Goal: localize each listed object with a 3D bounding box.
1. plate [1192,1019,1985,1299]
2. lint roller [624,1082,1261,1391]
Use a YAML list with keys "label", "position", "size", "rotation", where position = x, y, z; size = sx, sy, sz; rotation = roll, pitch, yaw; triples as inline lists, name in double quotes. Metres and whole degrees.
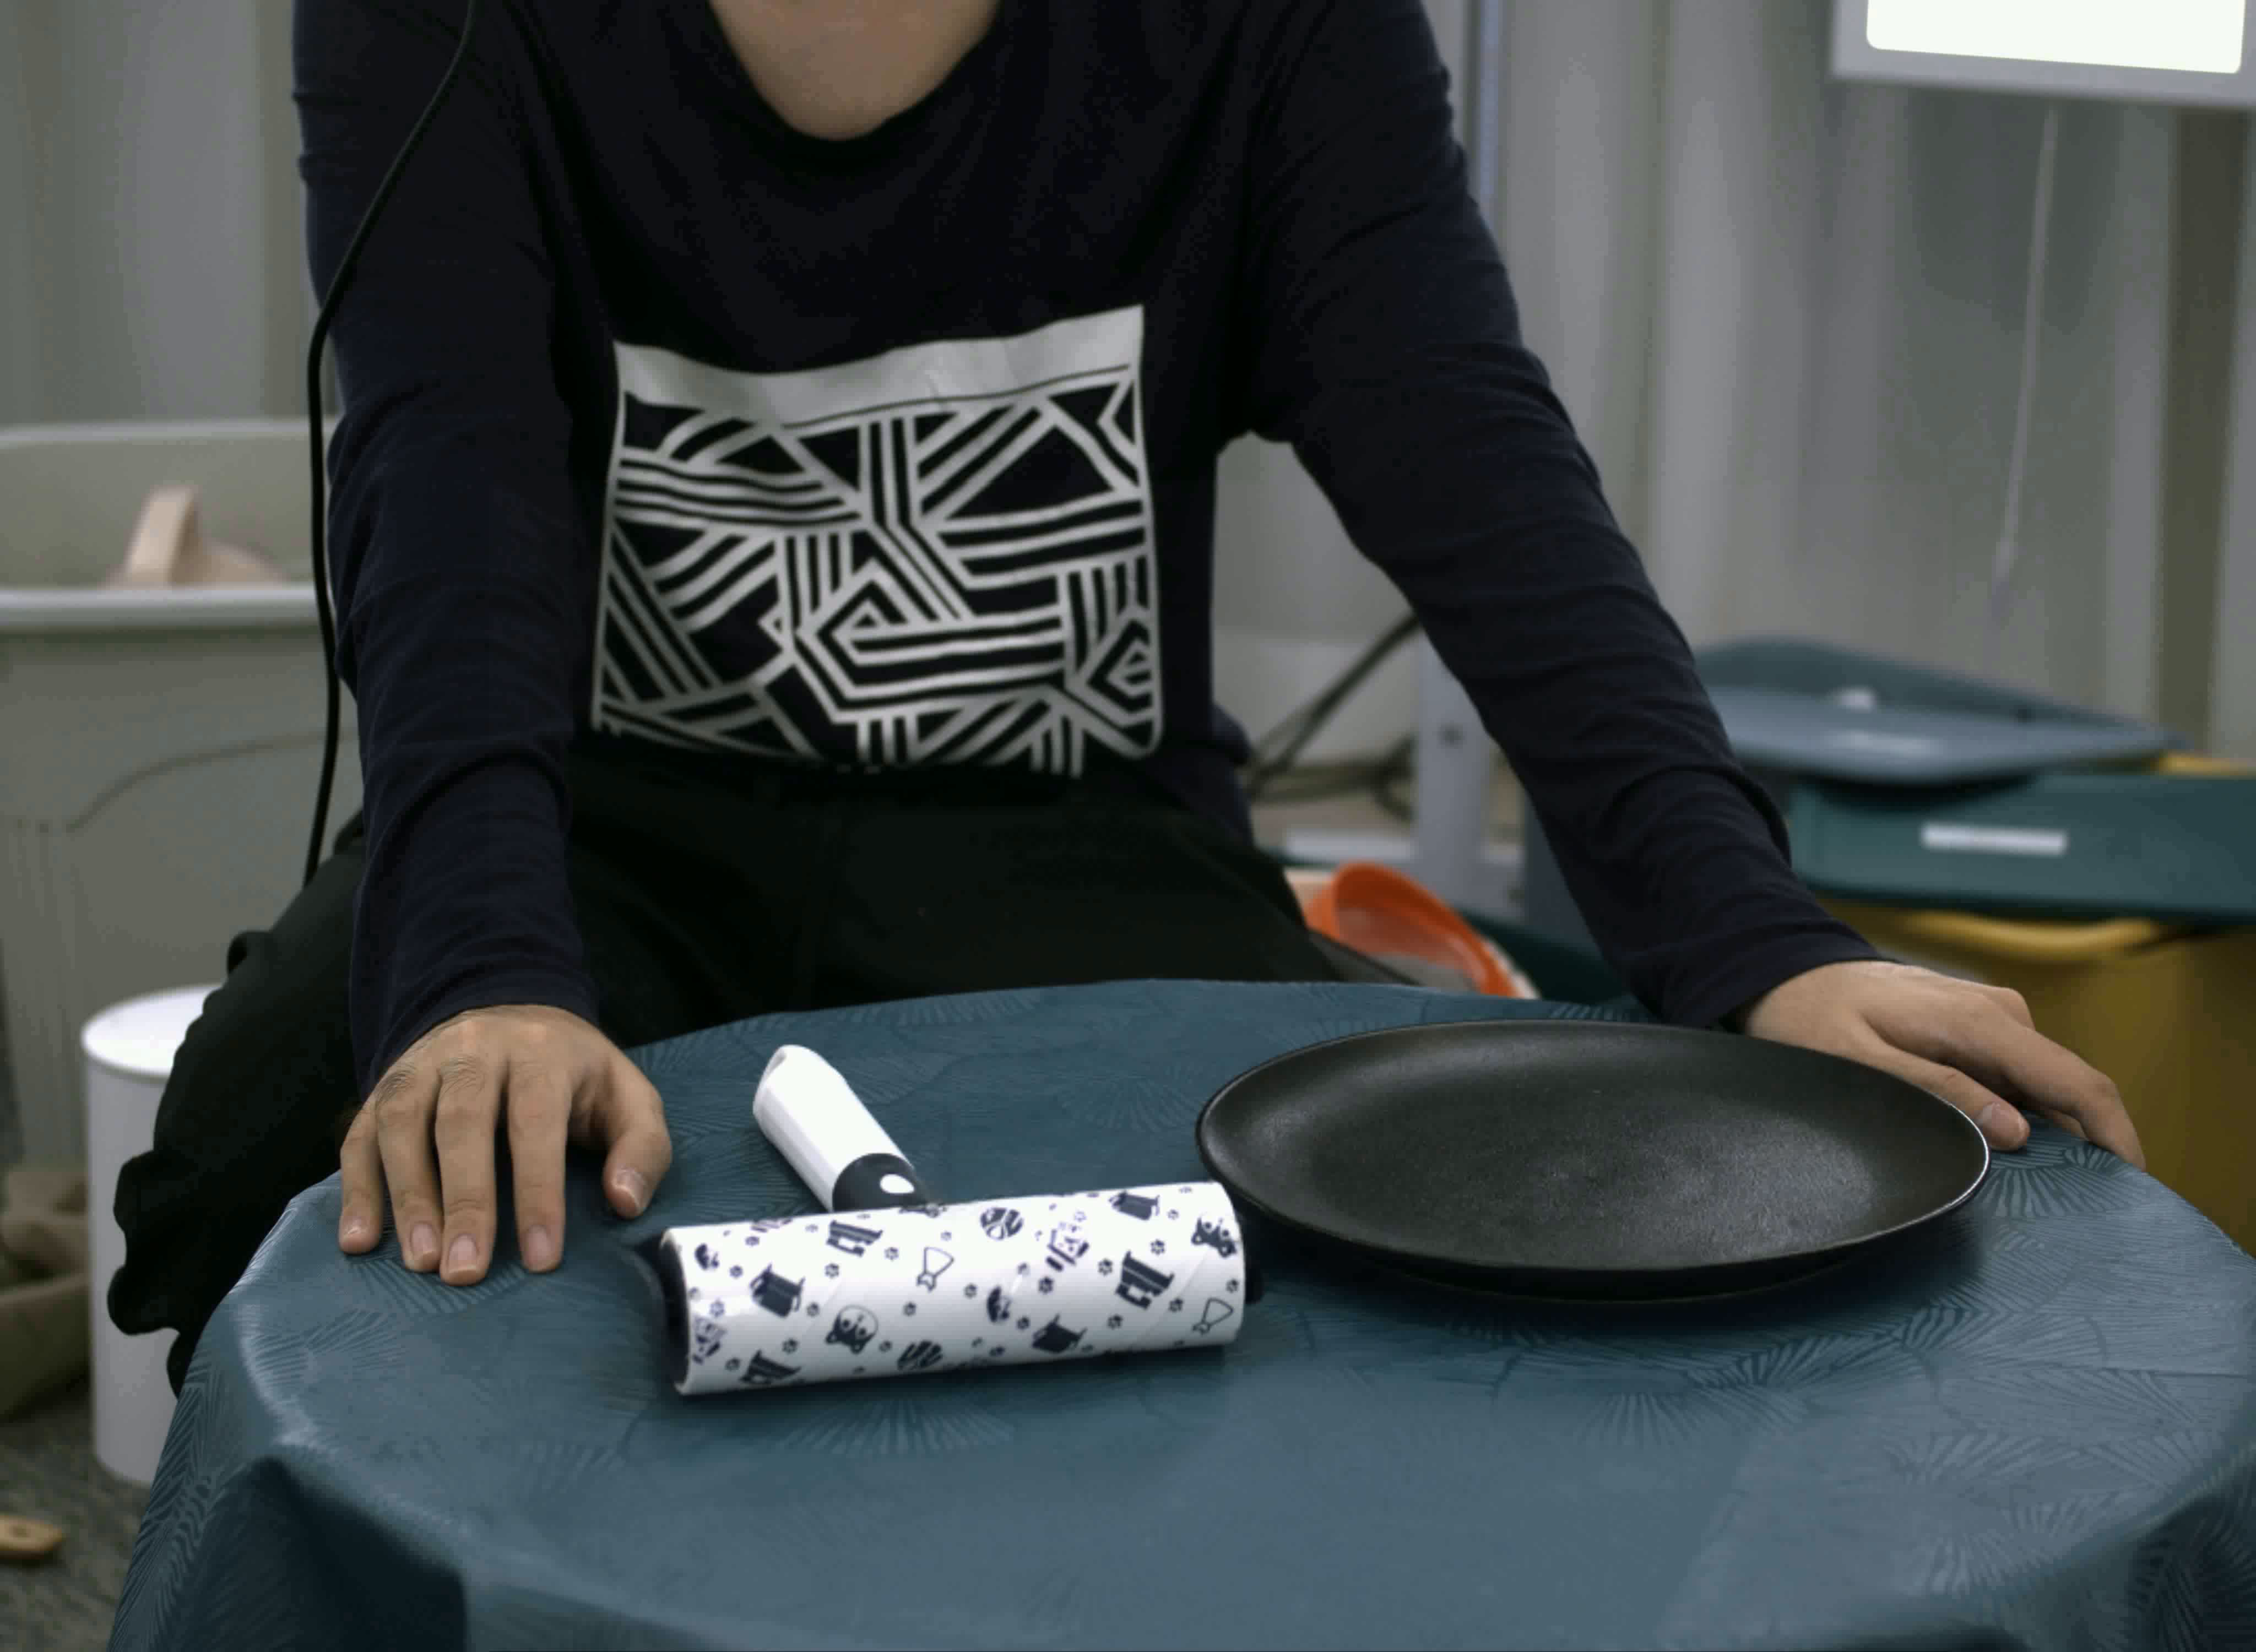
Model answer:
- label: "plate"
  position: [0.140, 0.104, 1.619]
  size: [0.243, 0.023, 0.243]
  rotation: [1, 15, 0]
- label: "lint roller"
  position: [-0.079, 0.107, 1.567]
  size: [0.176, 0.051, 0.245]
  rotation: [-5, 13, -16]
